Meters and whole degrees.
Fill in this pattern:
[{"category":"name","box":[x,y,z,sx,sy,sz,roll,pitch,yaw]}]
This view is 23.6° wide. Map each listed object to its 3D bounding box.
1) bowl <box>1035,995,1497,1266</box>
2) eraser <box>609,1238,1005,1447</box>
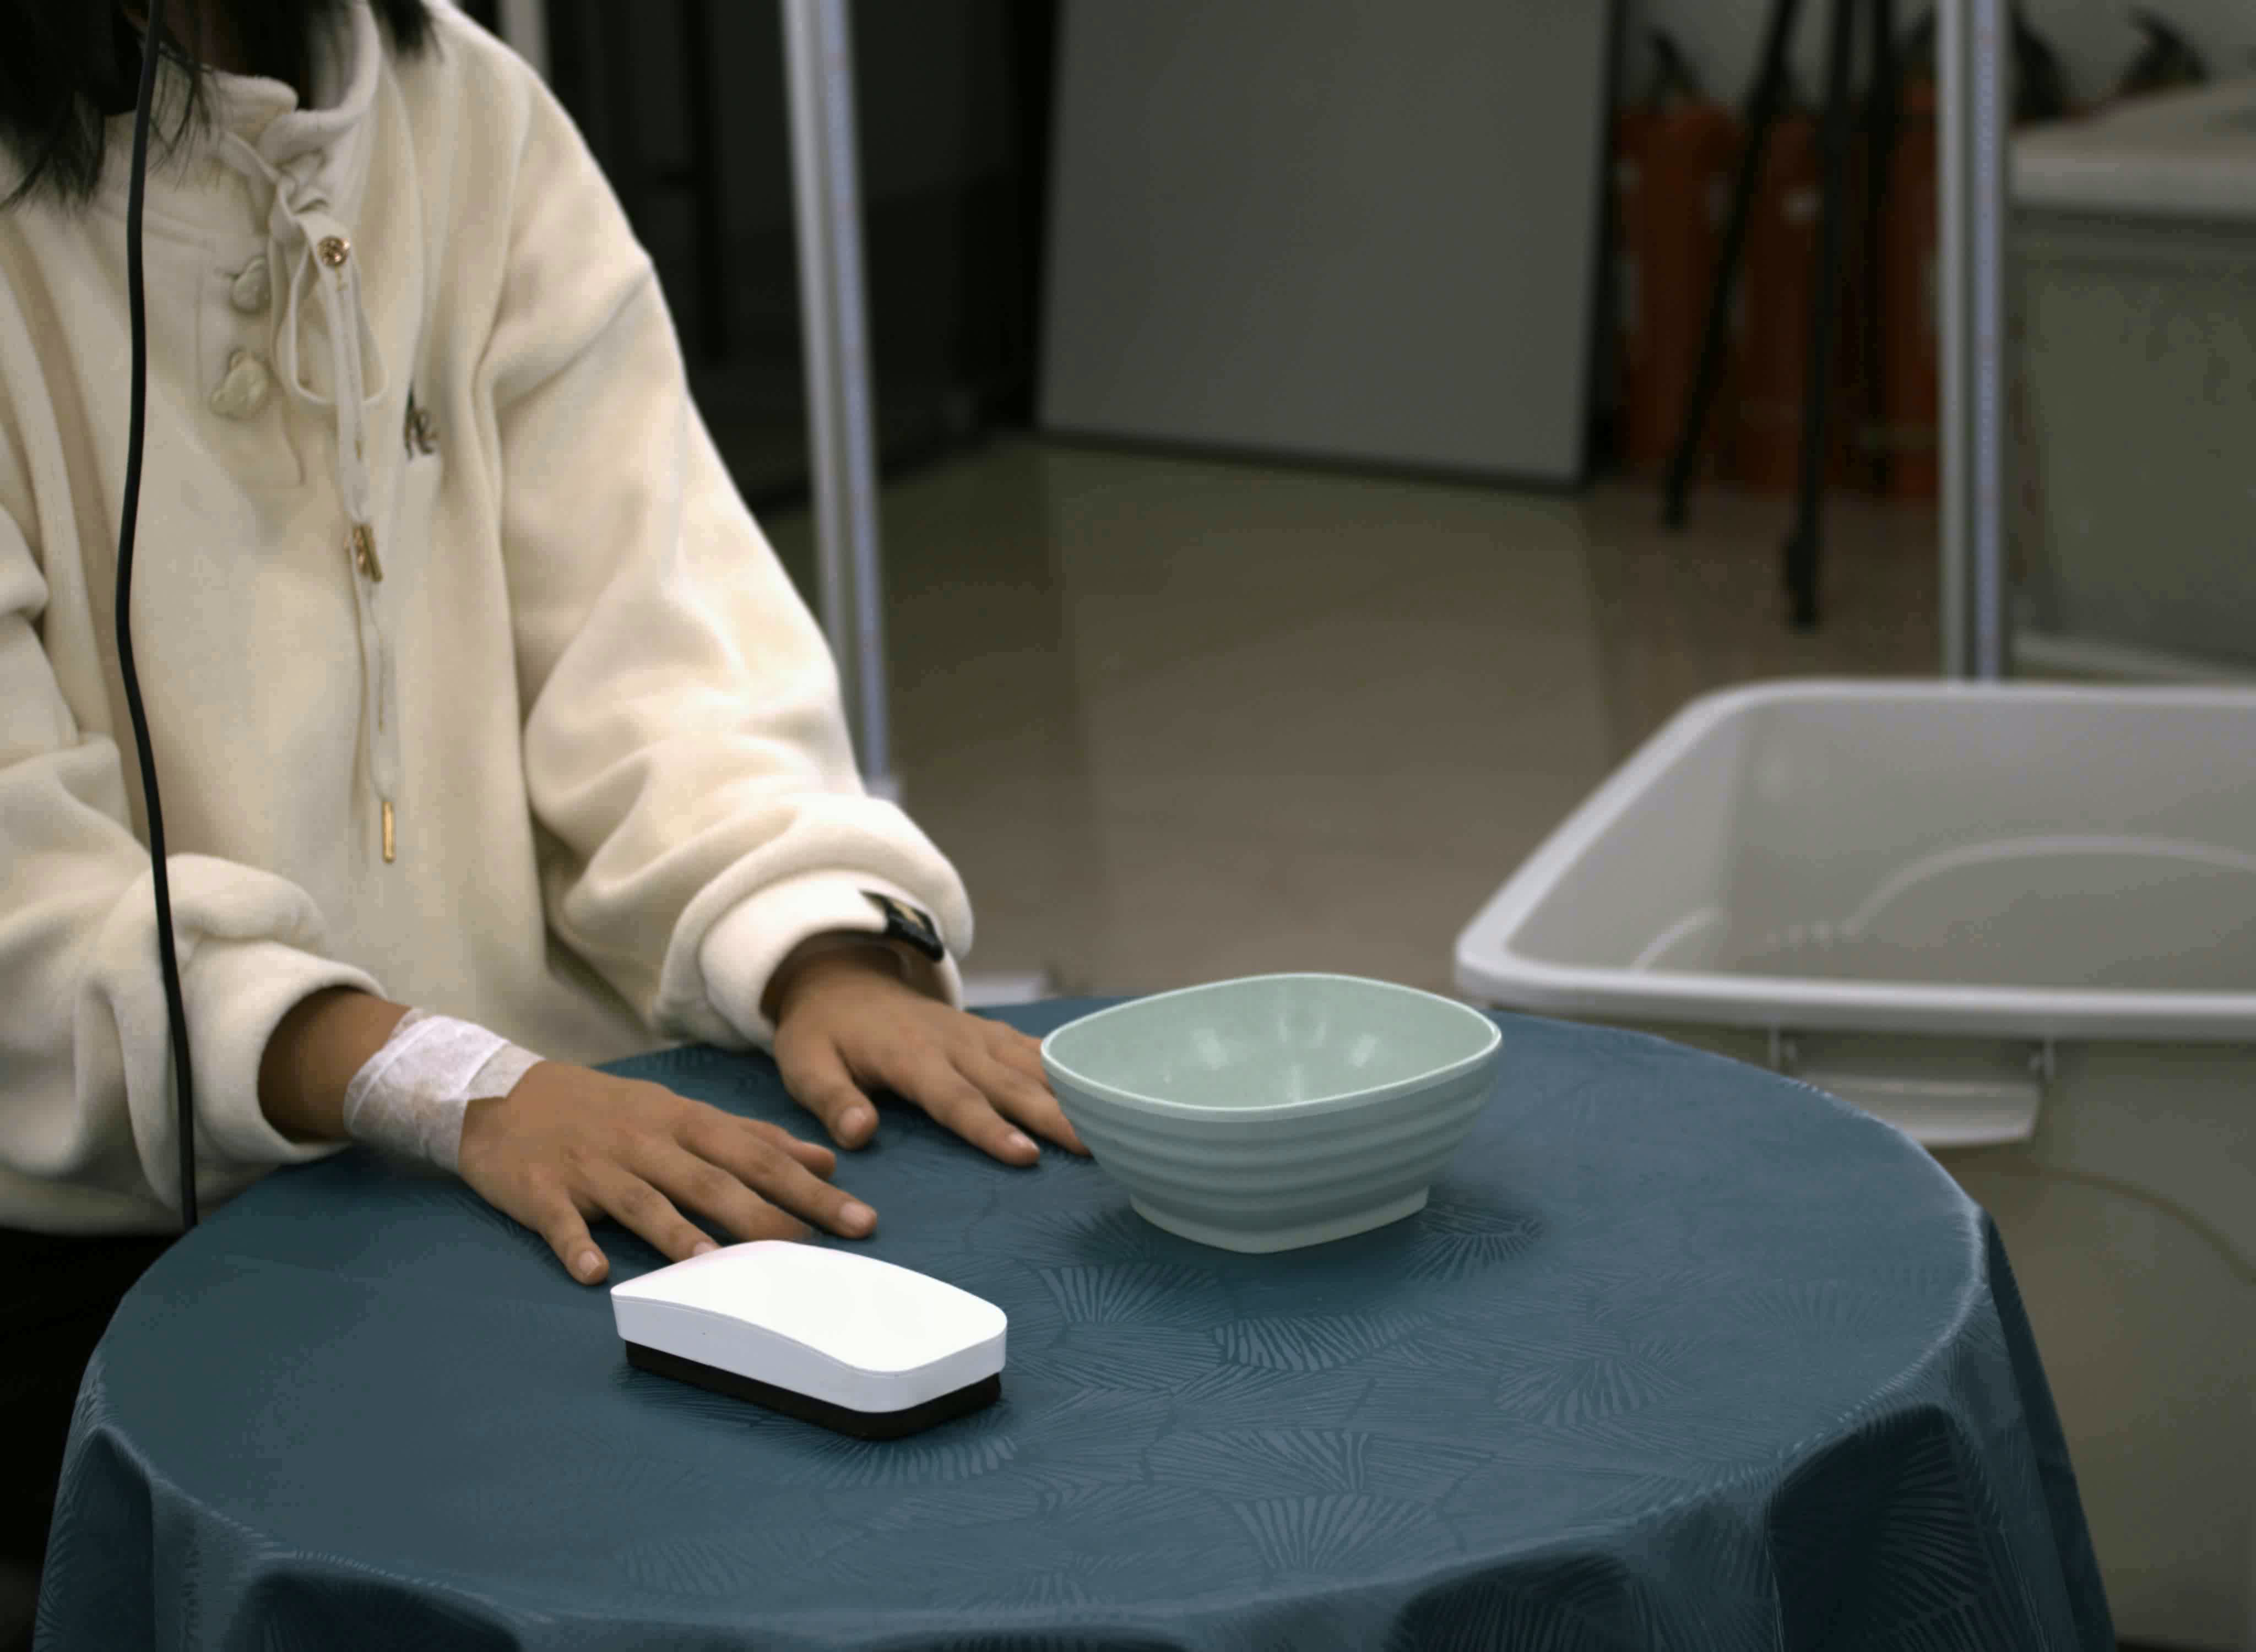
[{"category":"bowl","box":[0.046,0.100,1.736,0.149,0.059,0.151,-5,11,0]},{"category":"eraser","box":[-0.095,0.151,1.612,0.062,0.035,0.132,-16,19,-41]}]
